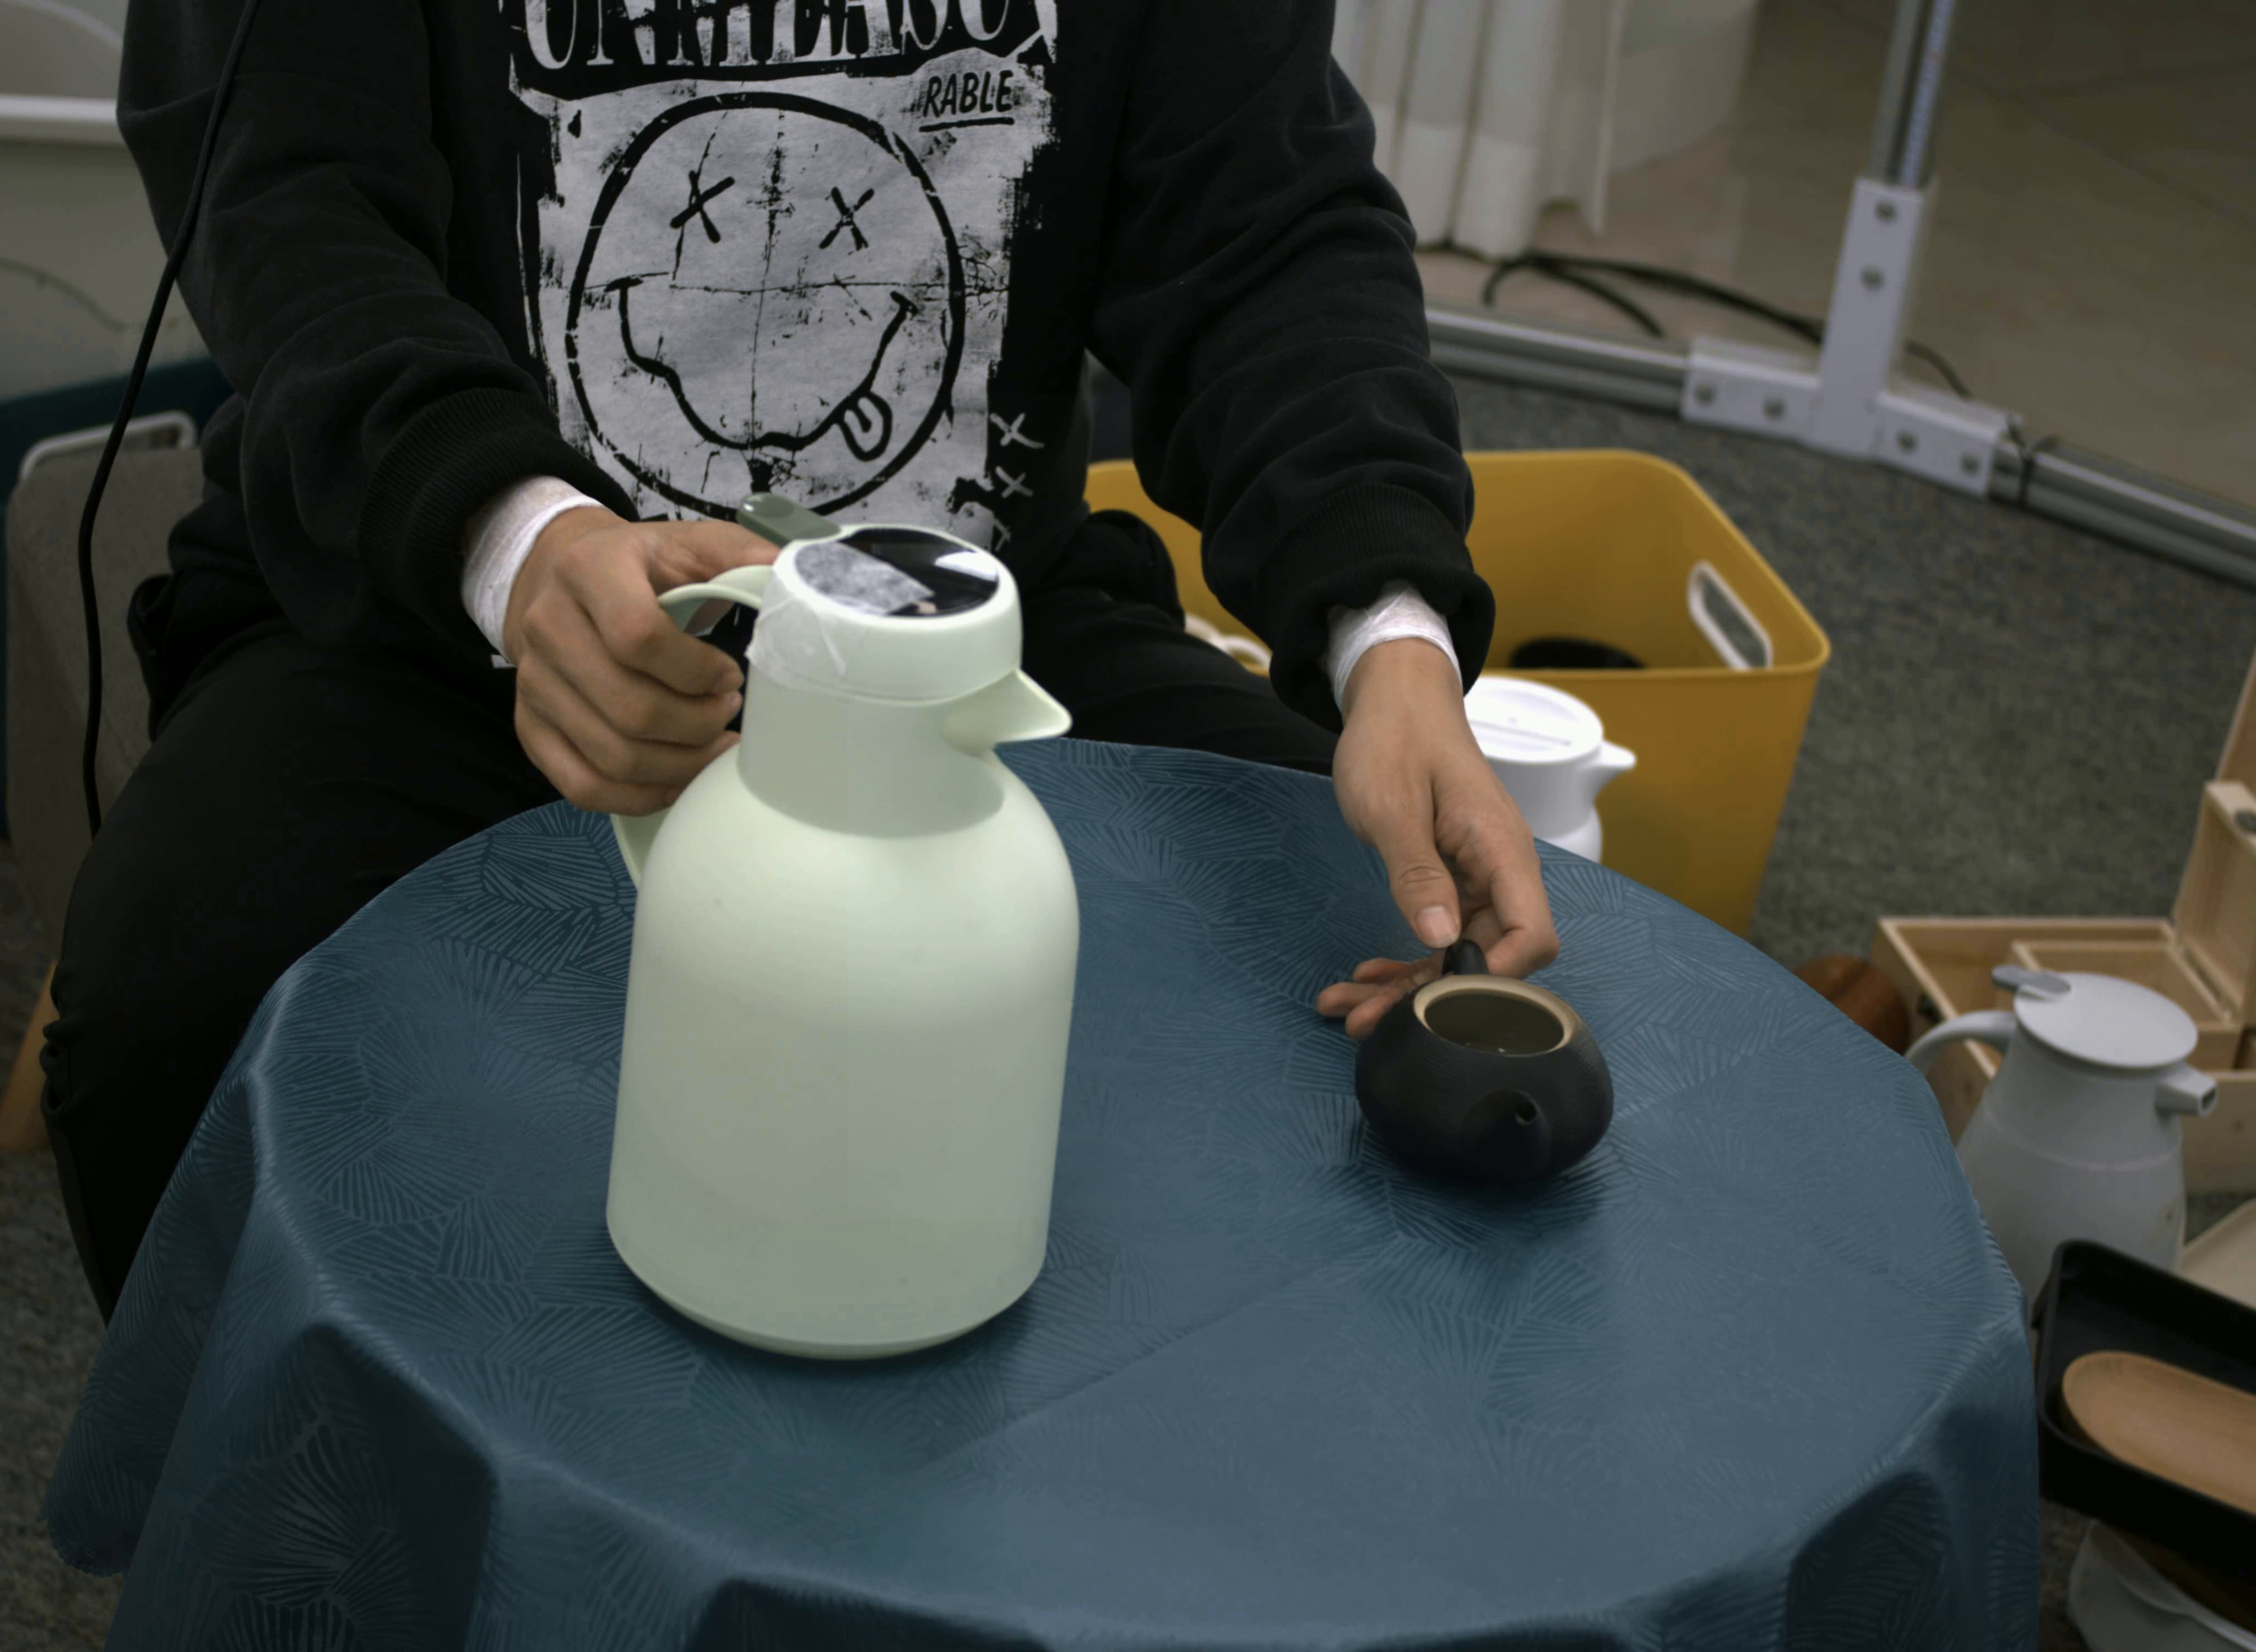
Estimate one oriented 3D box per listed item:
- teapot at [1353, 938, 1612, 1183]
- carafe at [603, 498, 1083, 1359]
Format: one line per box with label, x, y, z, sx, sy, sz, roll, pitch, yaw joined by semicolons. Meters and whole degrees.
teapot;0.123;0.087;1.845;0.090;0.053;0.134;4;27;-9
carafe;-0.095;0.027;1.700;0.188;0.256;0.143;23;33;37
